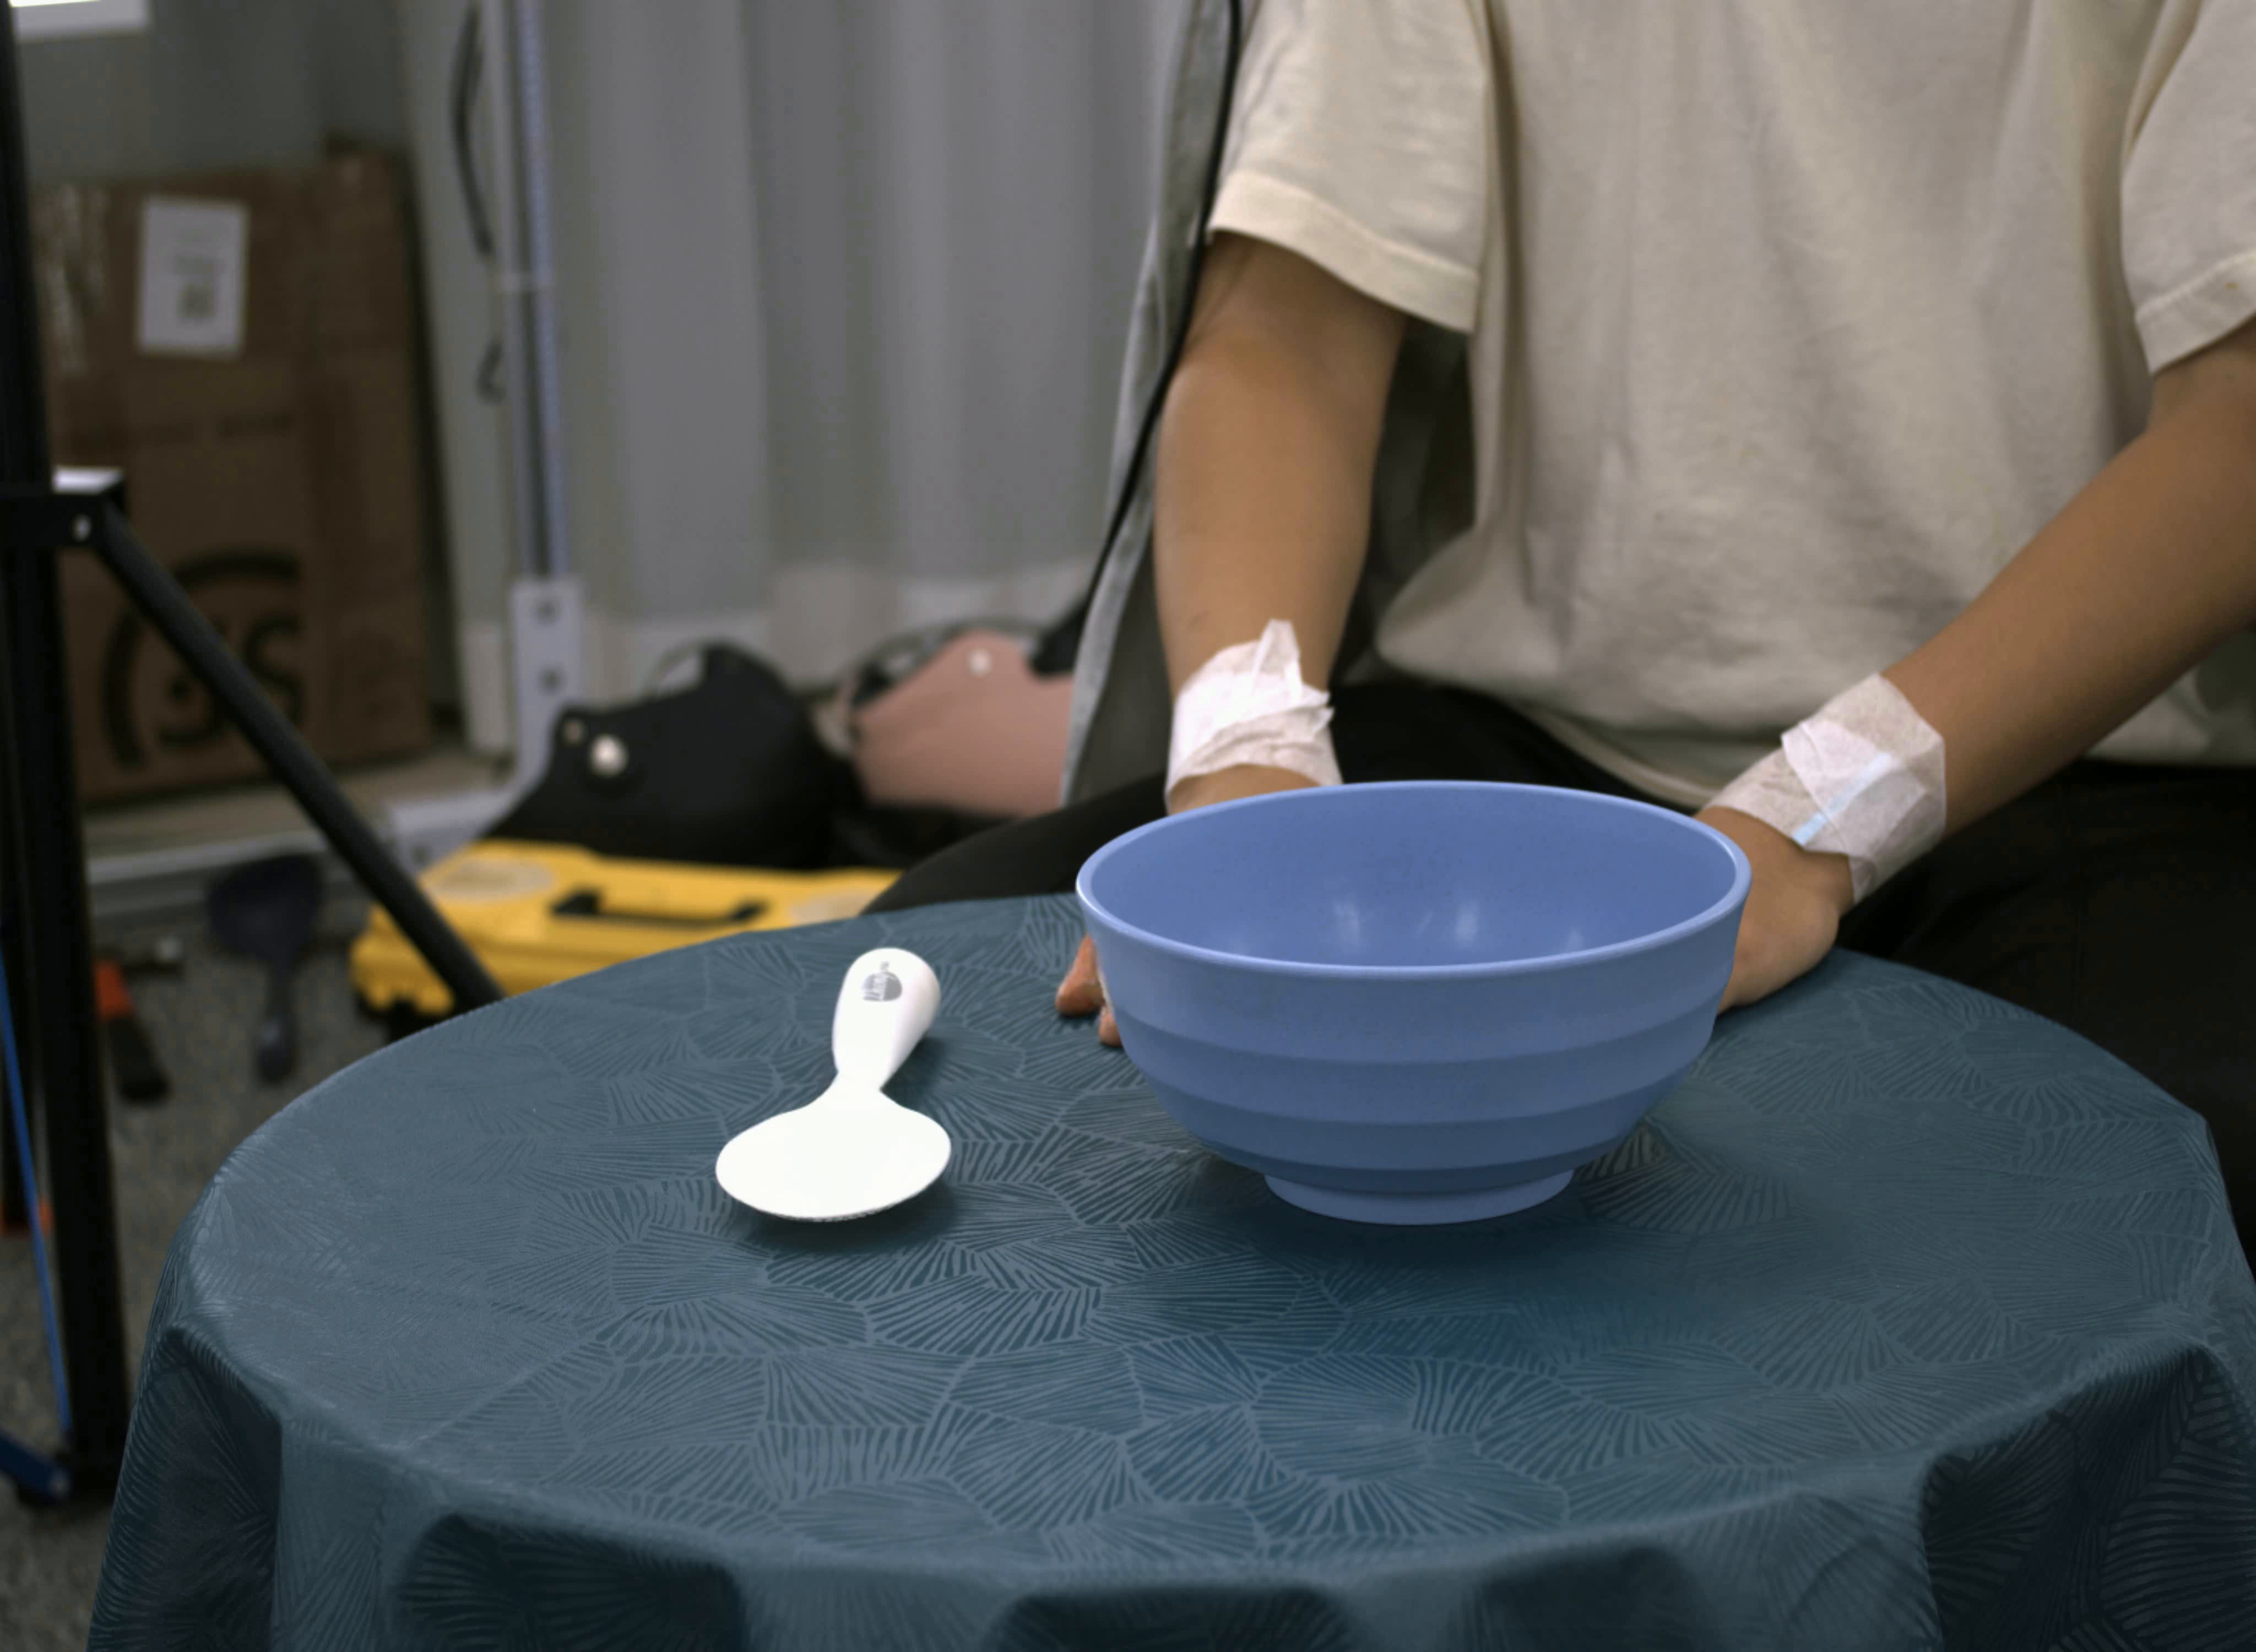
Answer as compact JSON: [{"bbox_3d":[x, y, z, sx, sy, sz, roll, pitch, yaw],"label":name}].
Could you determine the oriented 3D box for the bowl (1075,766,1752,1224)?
[{"bbox_3d":[0.085,0.056,1.549,0.195,0.095,0.197,-4,18,0],"label":"bowl"}]

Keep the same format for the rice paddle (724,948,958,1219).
[{"bbox_3d":[-0.081,0.080,1.611,0.069,0.029,0.205,-3,15,4],"label":"rice paddle"}]
